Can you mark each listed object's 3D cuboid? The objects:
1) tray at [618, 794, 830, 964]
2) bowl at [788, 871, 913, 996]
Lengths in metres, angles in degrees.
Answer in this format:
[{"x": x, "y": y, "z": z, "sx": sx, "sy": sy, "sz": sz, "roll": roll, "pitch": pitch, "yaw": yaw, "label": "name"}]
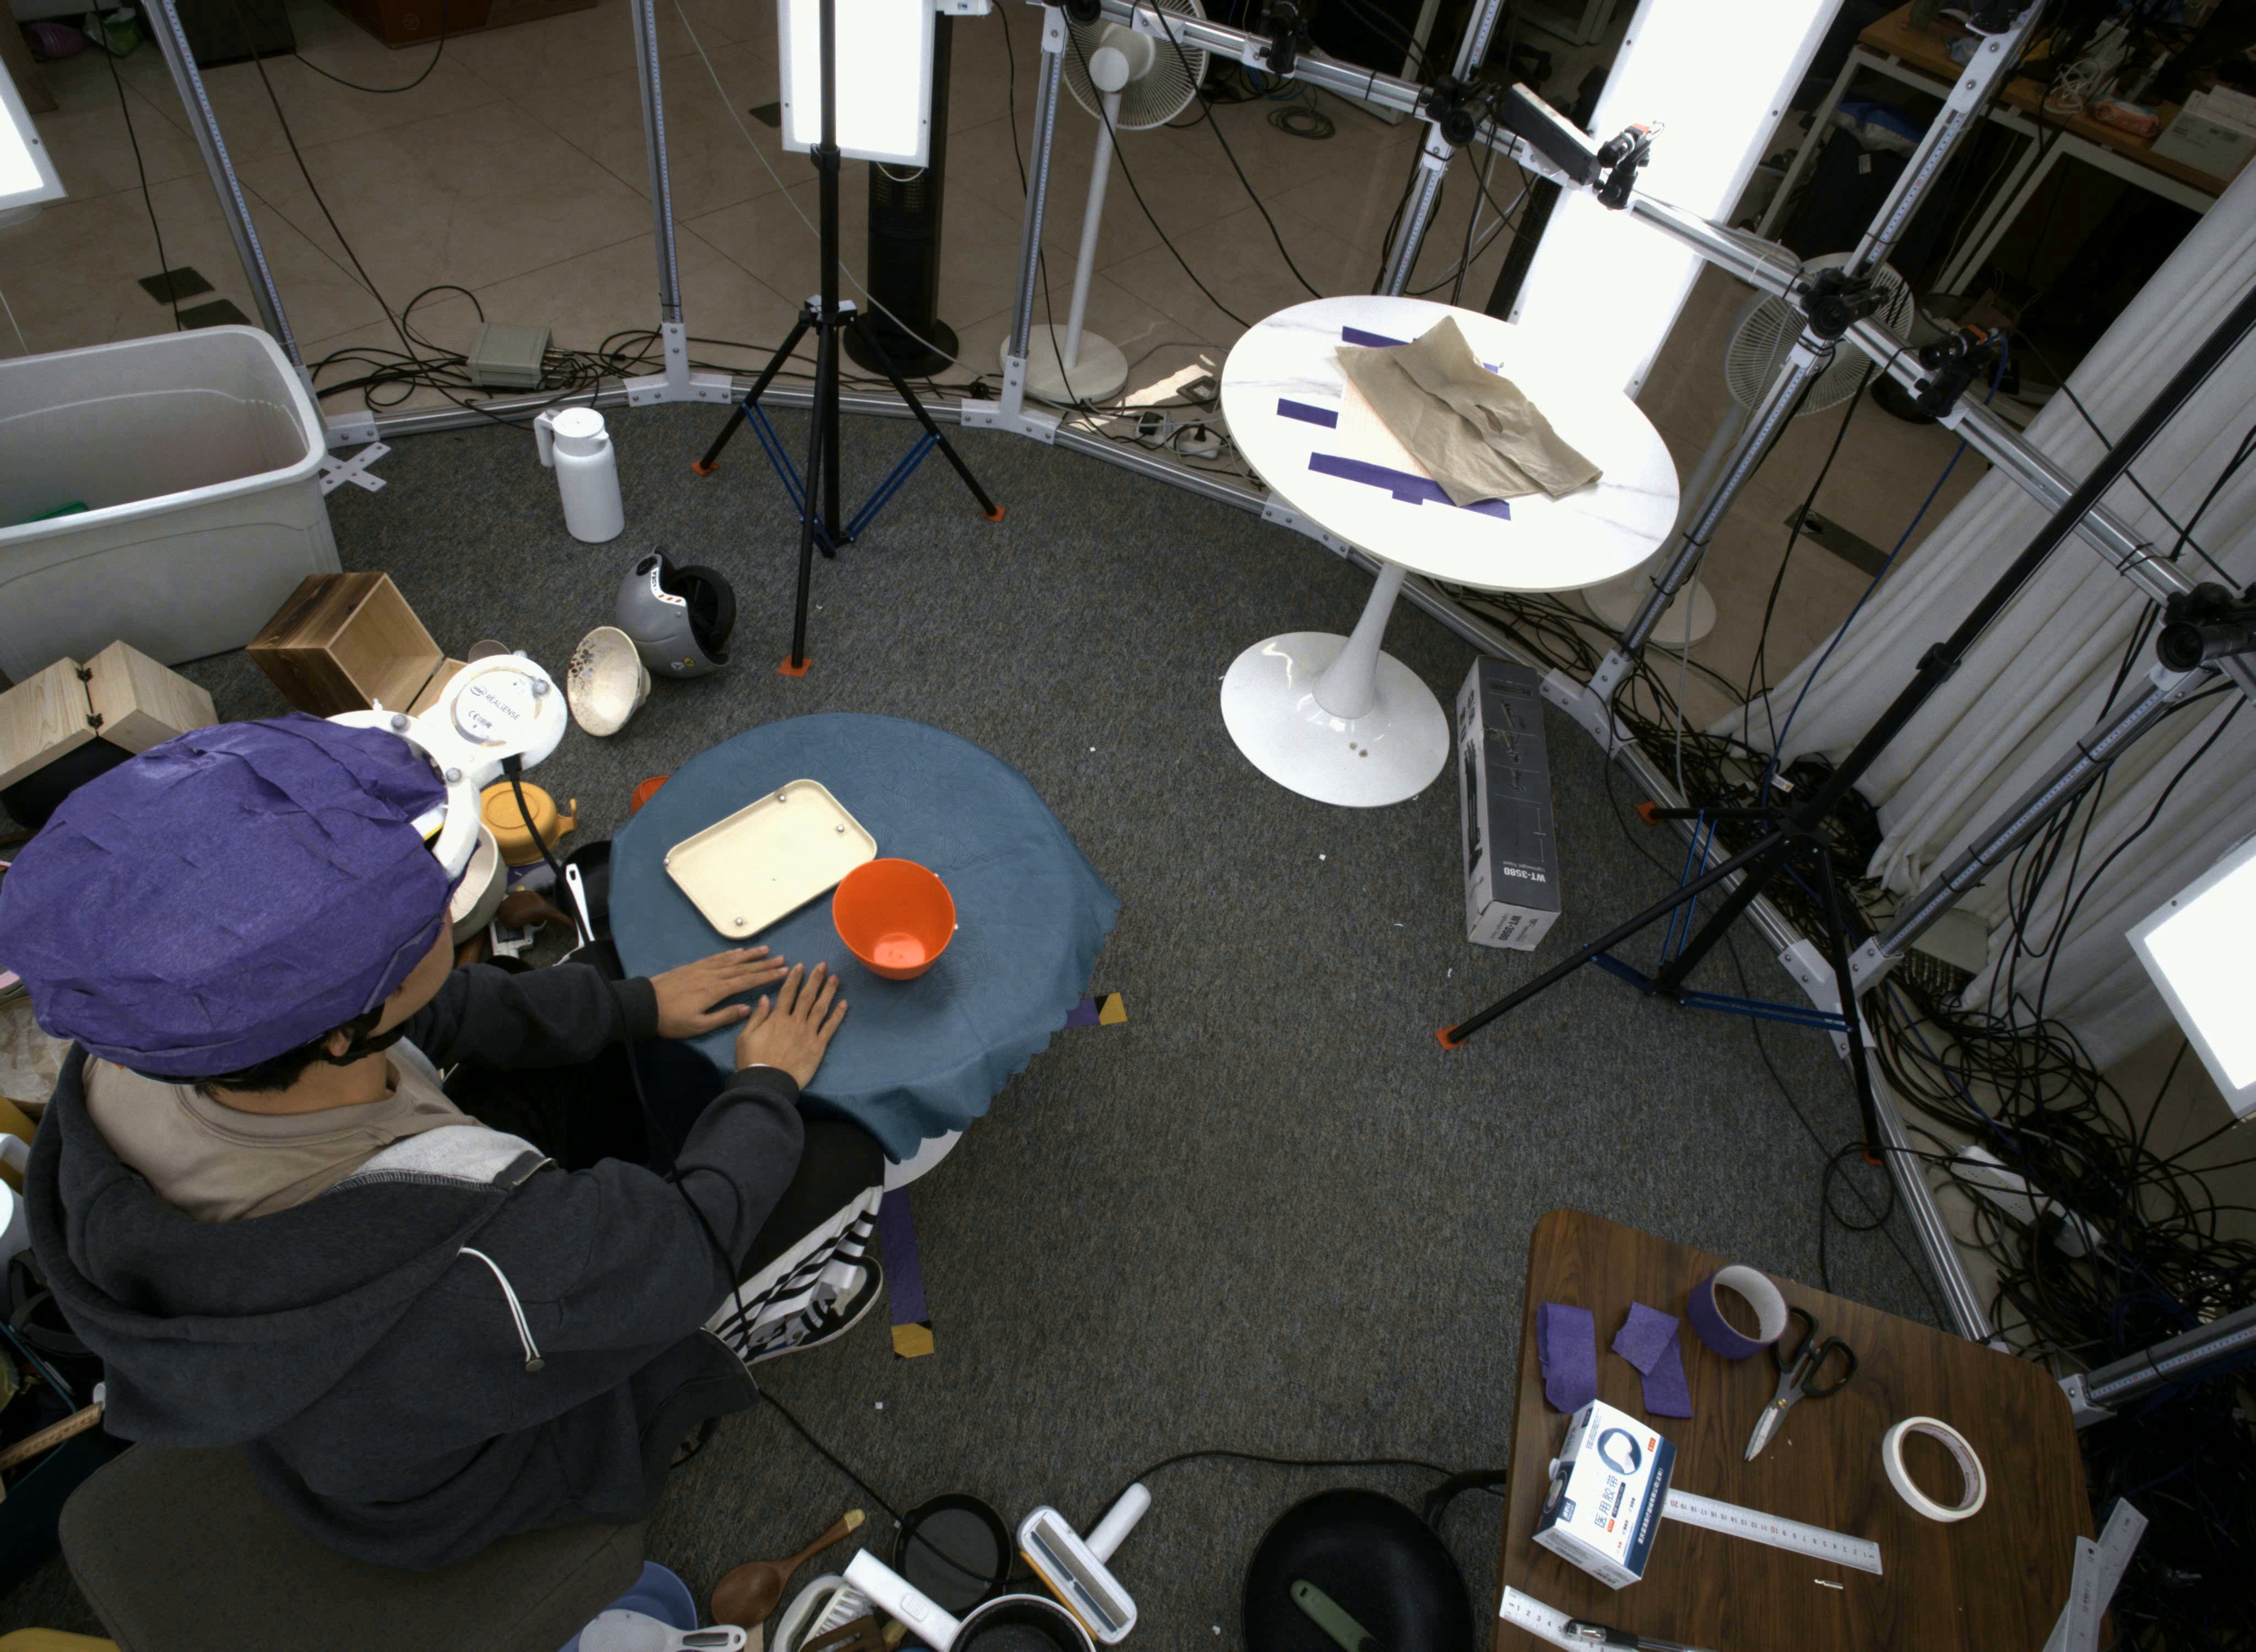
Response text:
[{"x": -0.514, "y": 0.063, "z": 1.647, "sx": 0.168, "sy": 0.018, "sz": 0.240, "roll": 41, "pitch": 55, "yaw": 16, "label": "tray"}, {"x": -0.336, "y": 0.142, "z": 1.580, "sx": 0.147, "sy": 0.107, "sz": 0.145, "roll": 8, "pitch": 50, "yaw": -8, "label": "bowl"}]
